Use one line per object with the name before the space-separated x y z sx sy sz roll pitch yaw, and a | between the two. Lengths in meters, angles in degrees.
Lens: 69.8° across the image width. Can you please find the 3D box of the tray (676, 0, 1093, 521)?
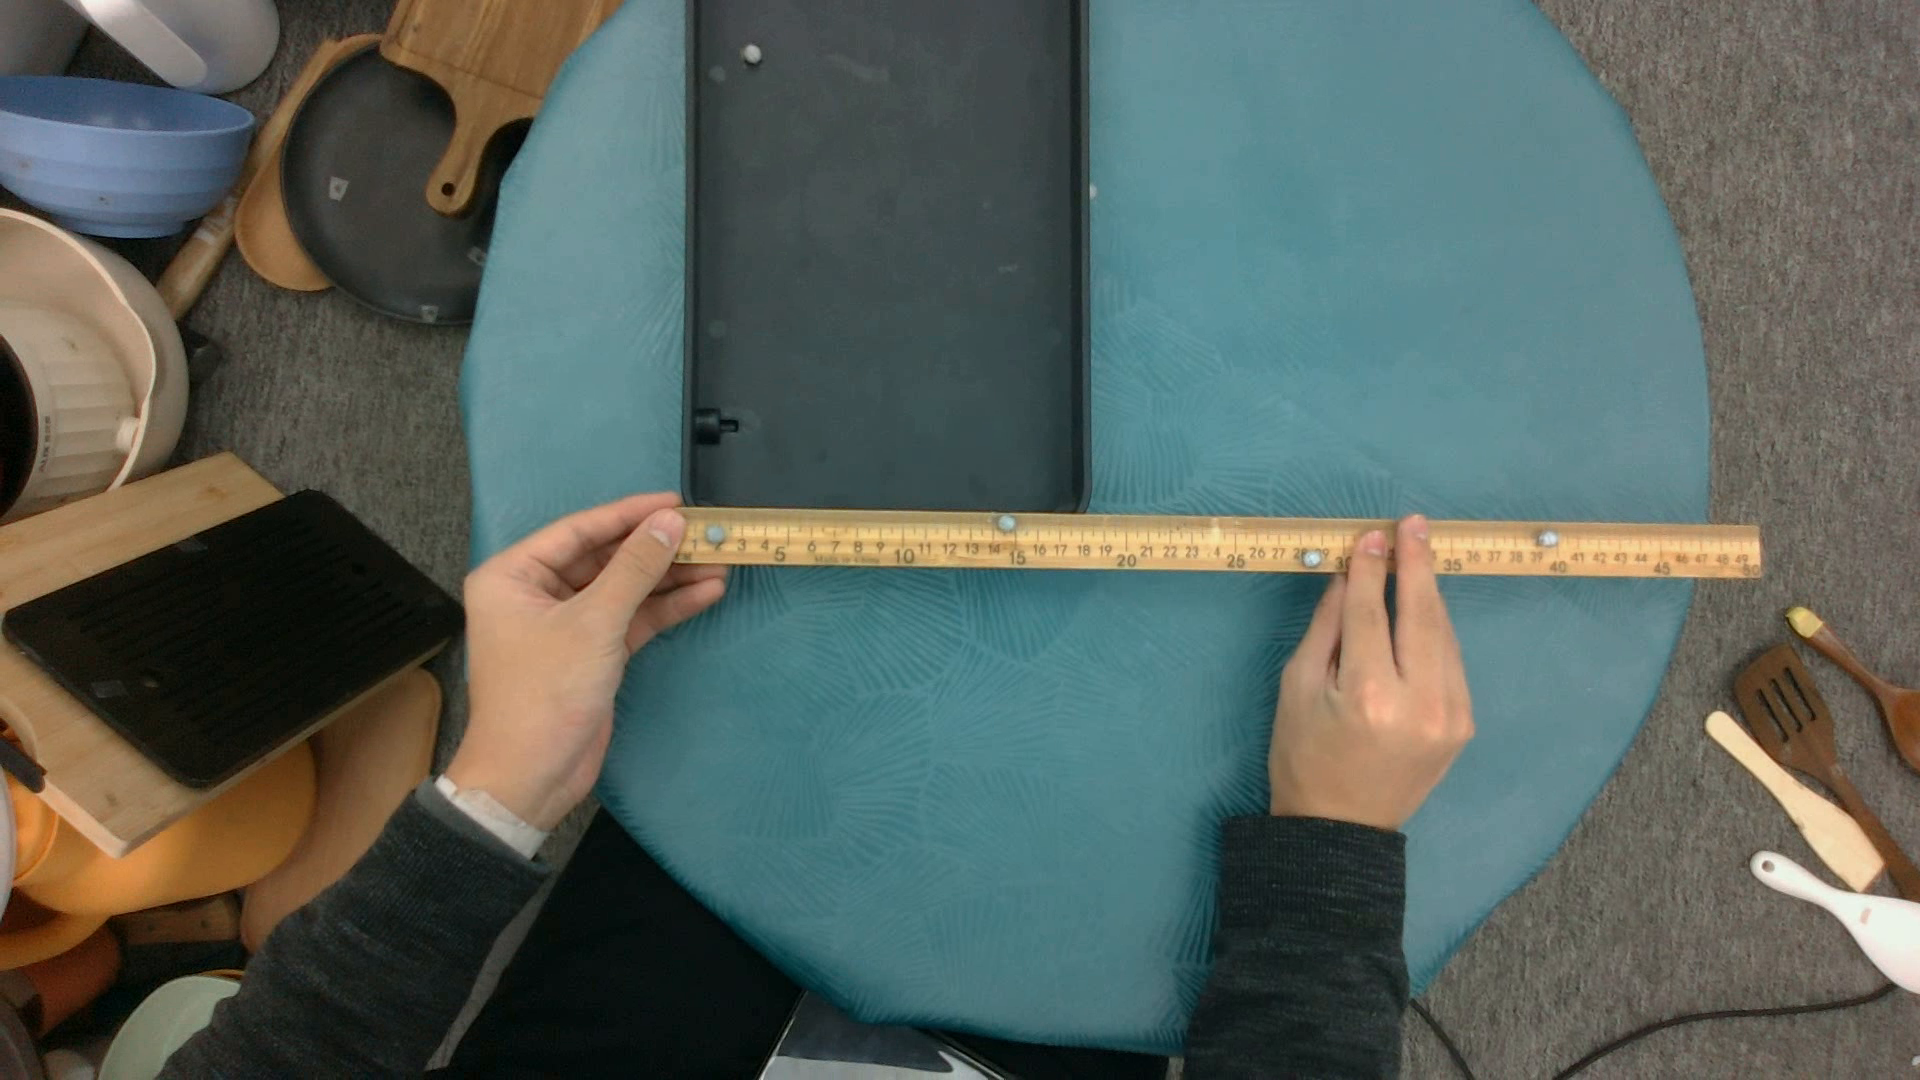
tray | -0.036 -0.167 0.637 0.184 0.037 0.318 -1 87 -6

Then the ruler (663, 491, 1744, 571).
ruler | 0.120 -0.003 0.622 0.501 0.006 0.027 1 88 -6
